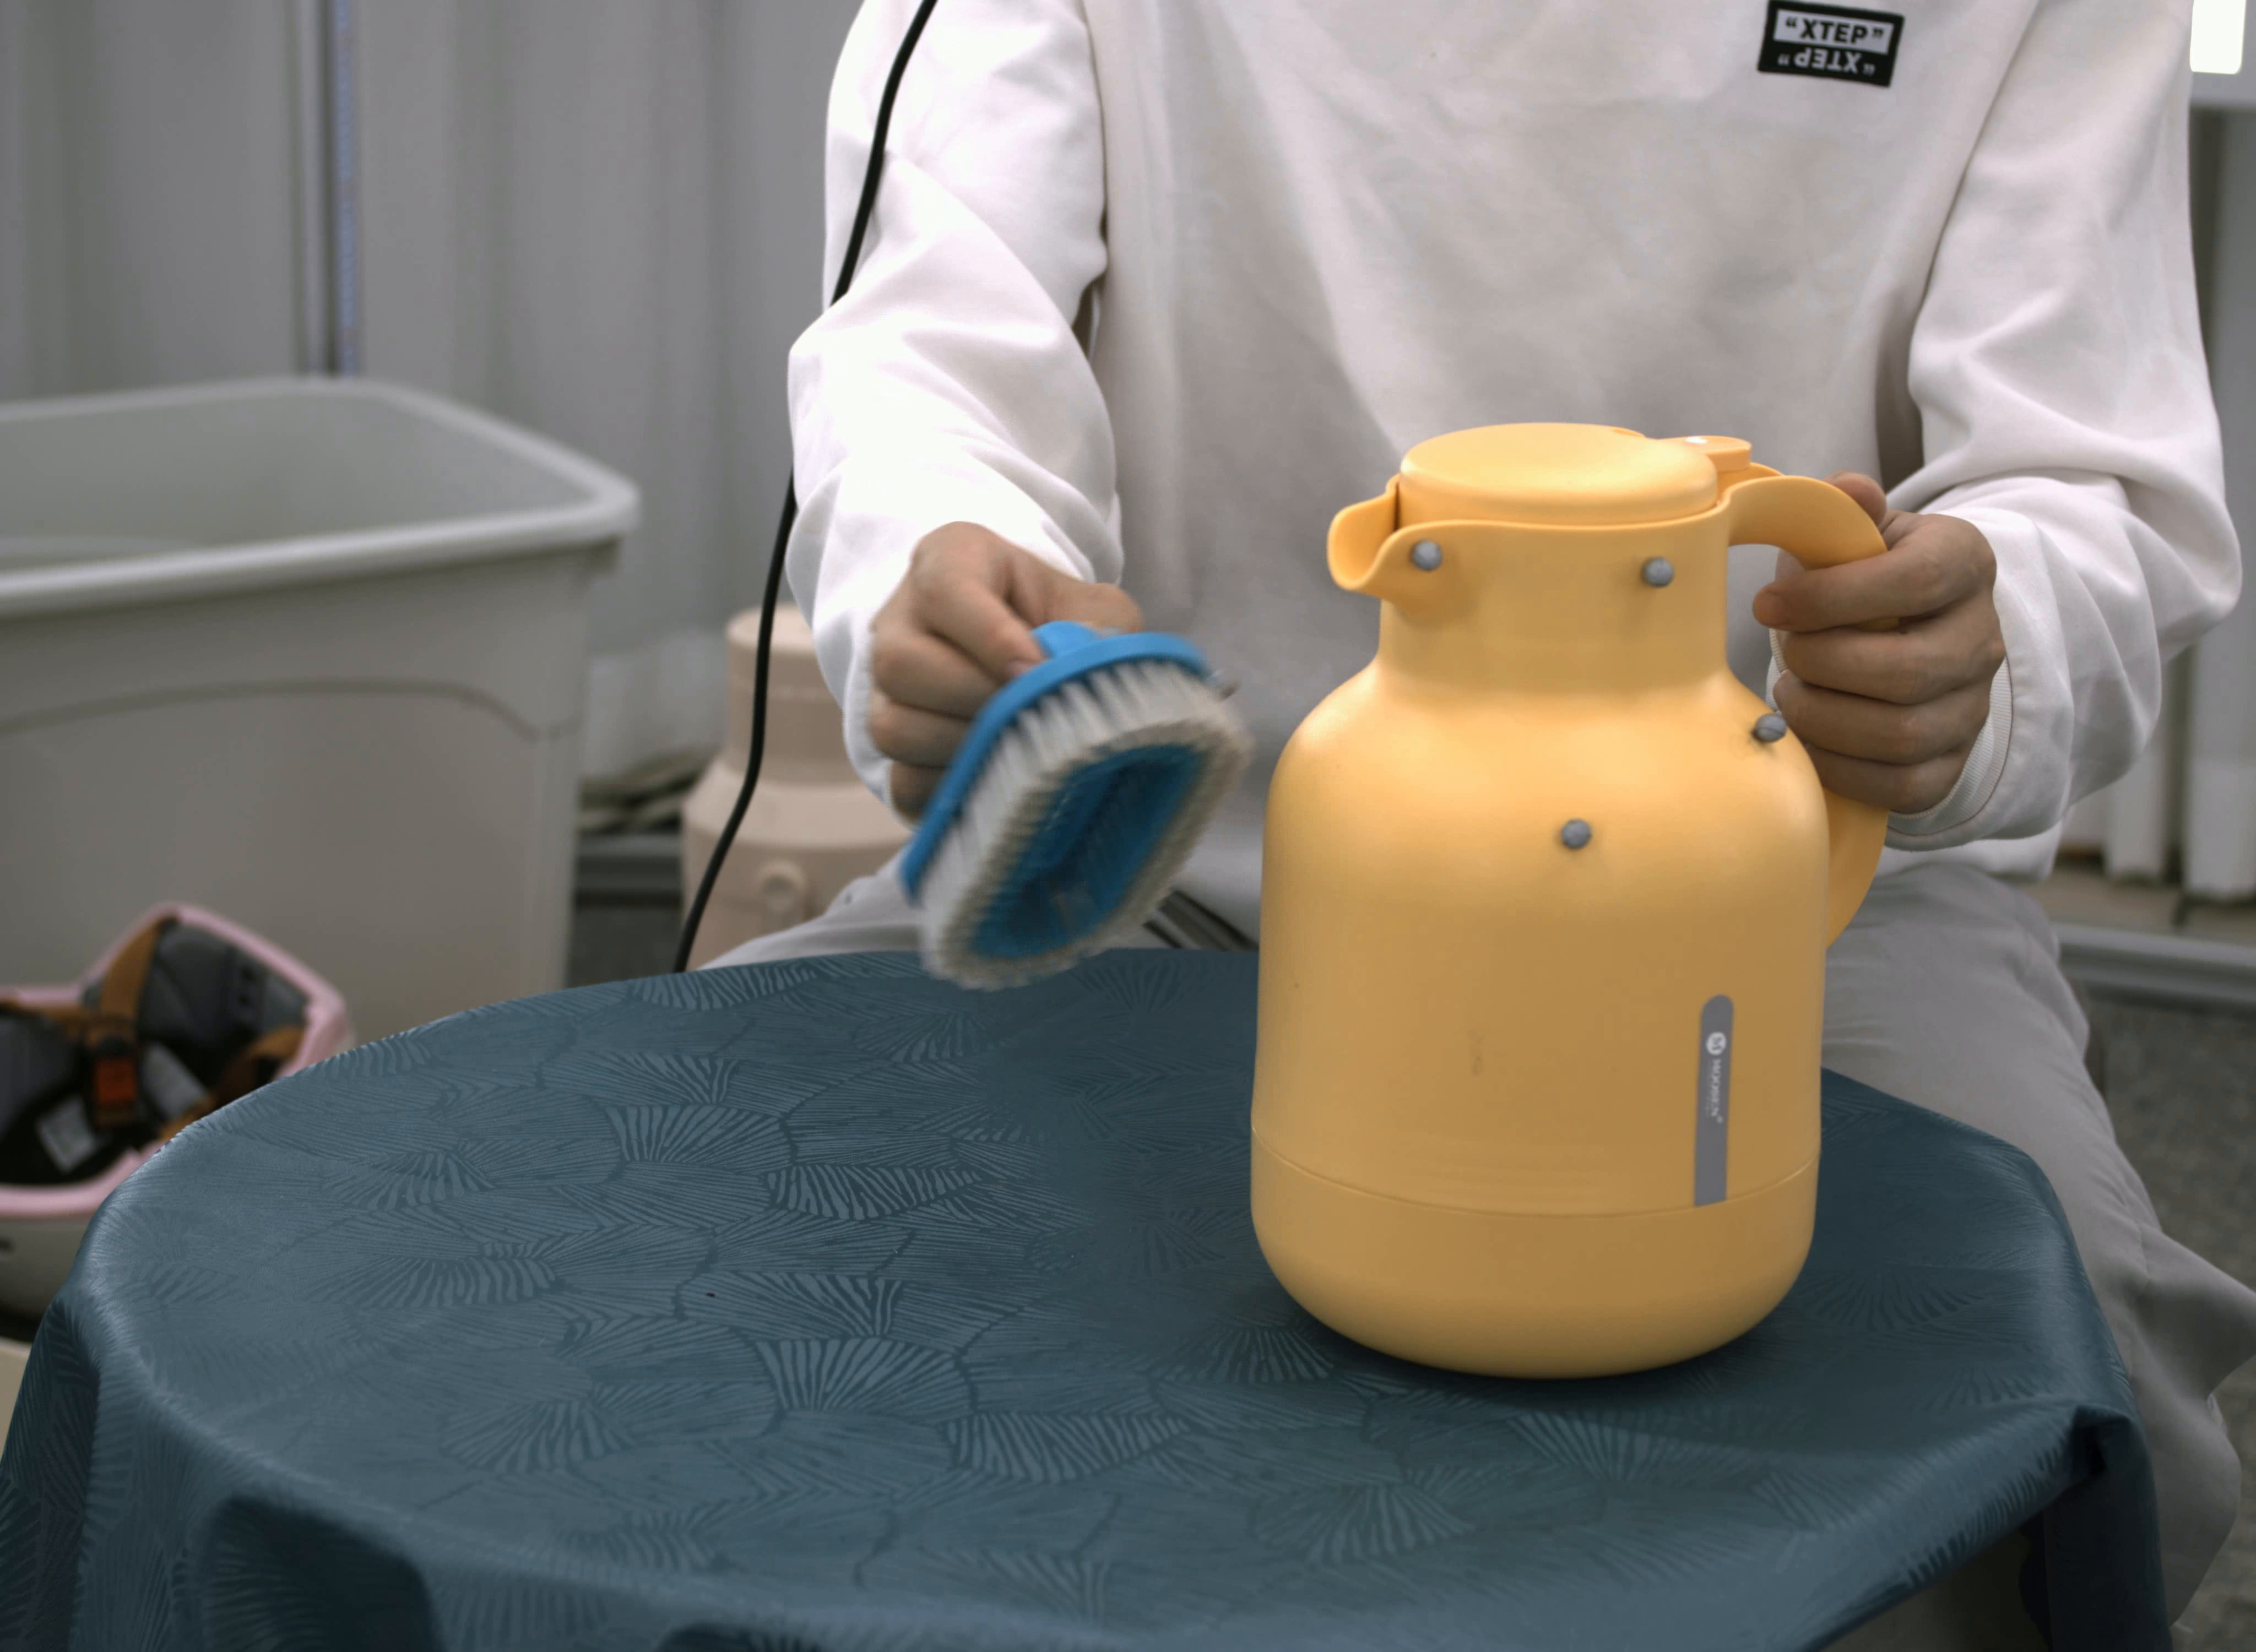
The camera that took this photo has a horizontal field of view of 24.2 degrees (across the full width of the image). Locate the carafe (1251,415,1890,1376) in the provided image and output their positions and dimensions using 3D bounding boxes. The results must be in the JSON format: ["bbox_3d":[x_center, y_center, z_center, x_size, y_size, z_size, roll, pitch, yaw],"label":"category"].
[{"bbox_3d":[0.134,0.013,1.505,0.203,0.263,0.161,-11,22,-32],"label":"carafe"}]

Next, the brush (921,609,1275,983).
[{"bbox_3d":[-0.017,-0.017,1.531,0.084,0.142,0.063,-18,63,-32],"label":"brush"}]
